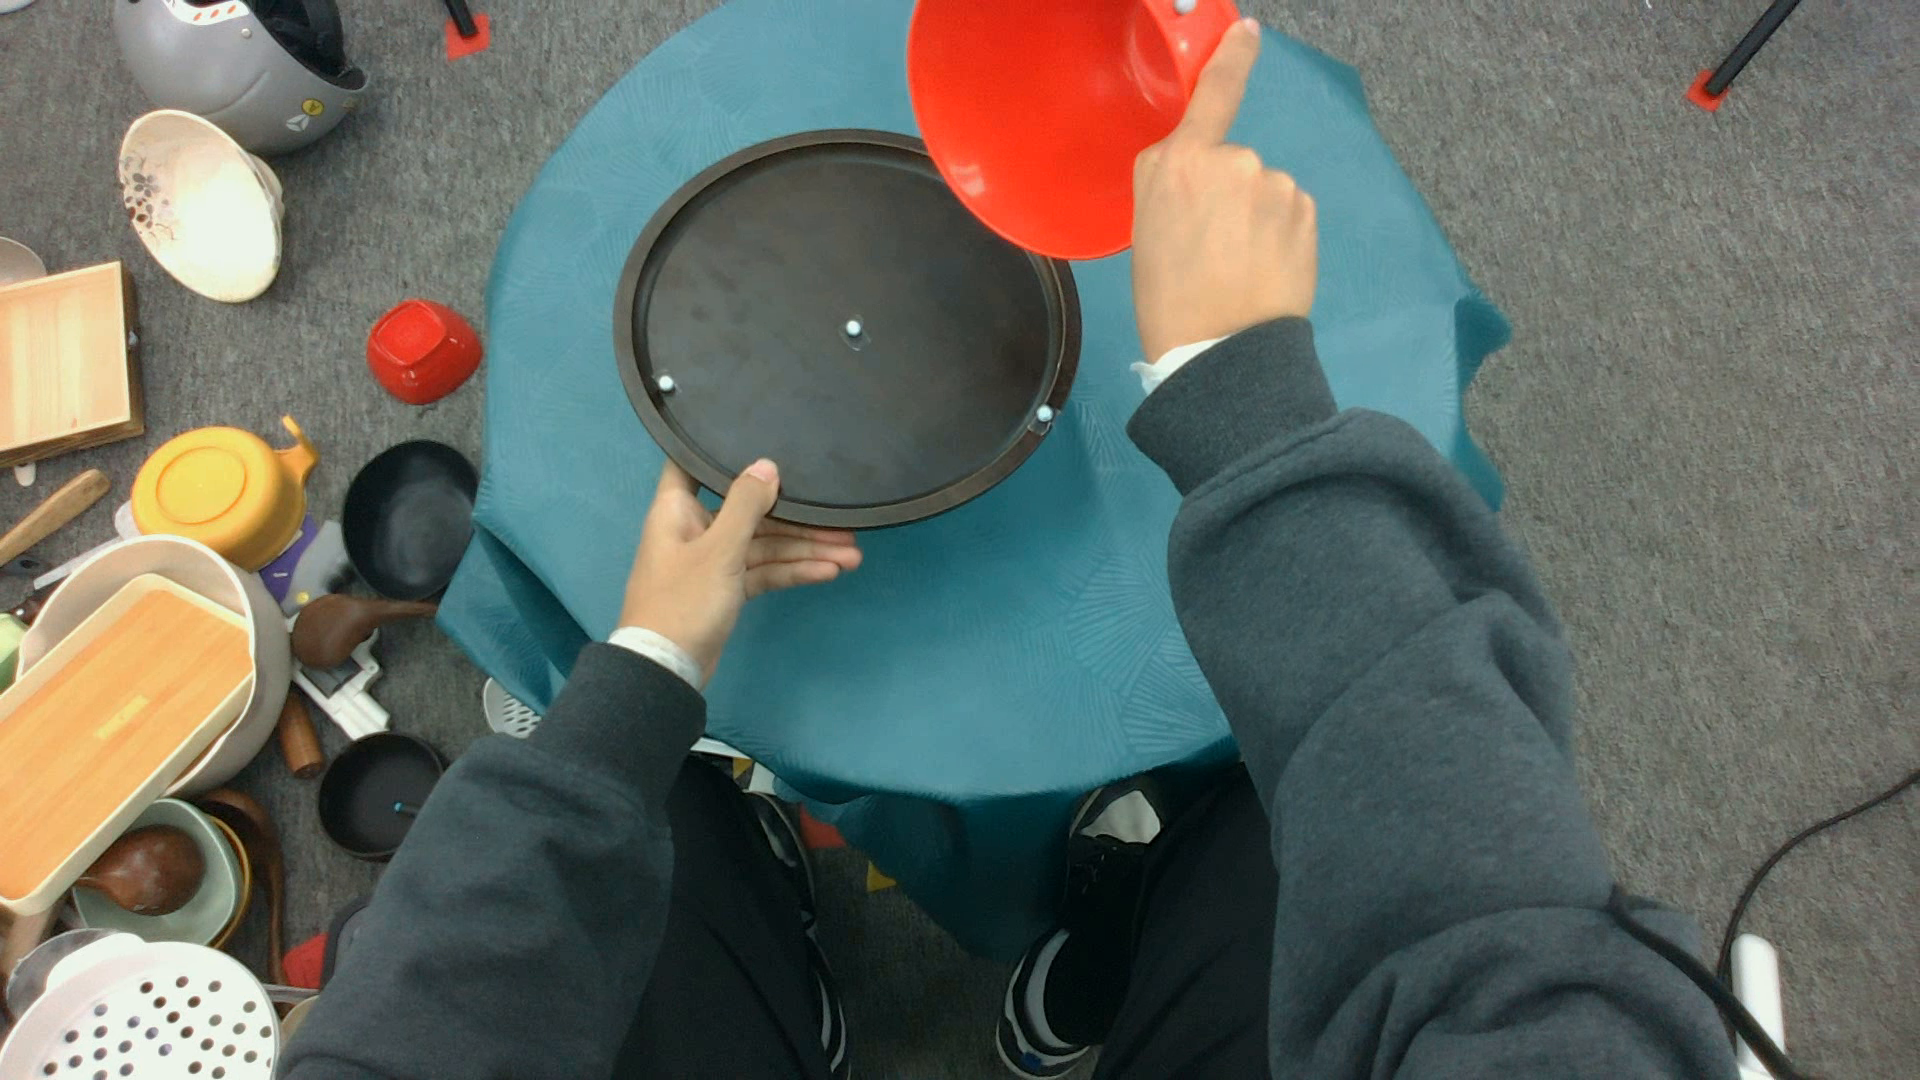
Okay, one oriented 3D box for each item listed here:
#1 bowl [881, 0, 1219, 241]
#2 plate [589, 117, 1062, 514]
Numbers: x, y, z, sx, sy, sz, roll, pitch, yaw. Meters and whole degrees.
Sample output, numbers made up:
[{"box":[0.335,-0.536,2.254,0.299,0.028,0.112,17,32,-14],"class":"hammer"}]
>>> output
[{"box":[0.052,-0.222,0.635,0.105,0.147,0.148,-35,72,-32],"class":"bowl"},{"box":[-0.072,-0.127,0.749,0.255,0.029,0.255,2,66,-5],"class":"plate"}]
